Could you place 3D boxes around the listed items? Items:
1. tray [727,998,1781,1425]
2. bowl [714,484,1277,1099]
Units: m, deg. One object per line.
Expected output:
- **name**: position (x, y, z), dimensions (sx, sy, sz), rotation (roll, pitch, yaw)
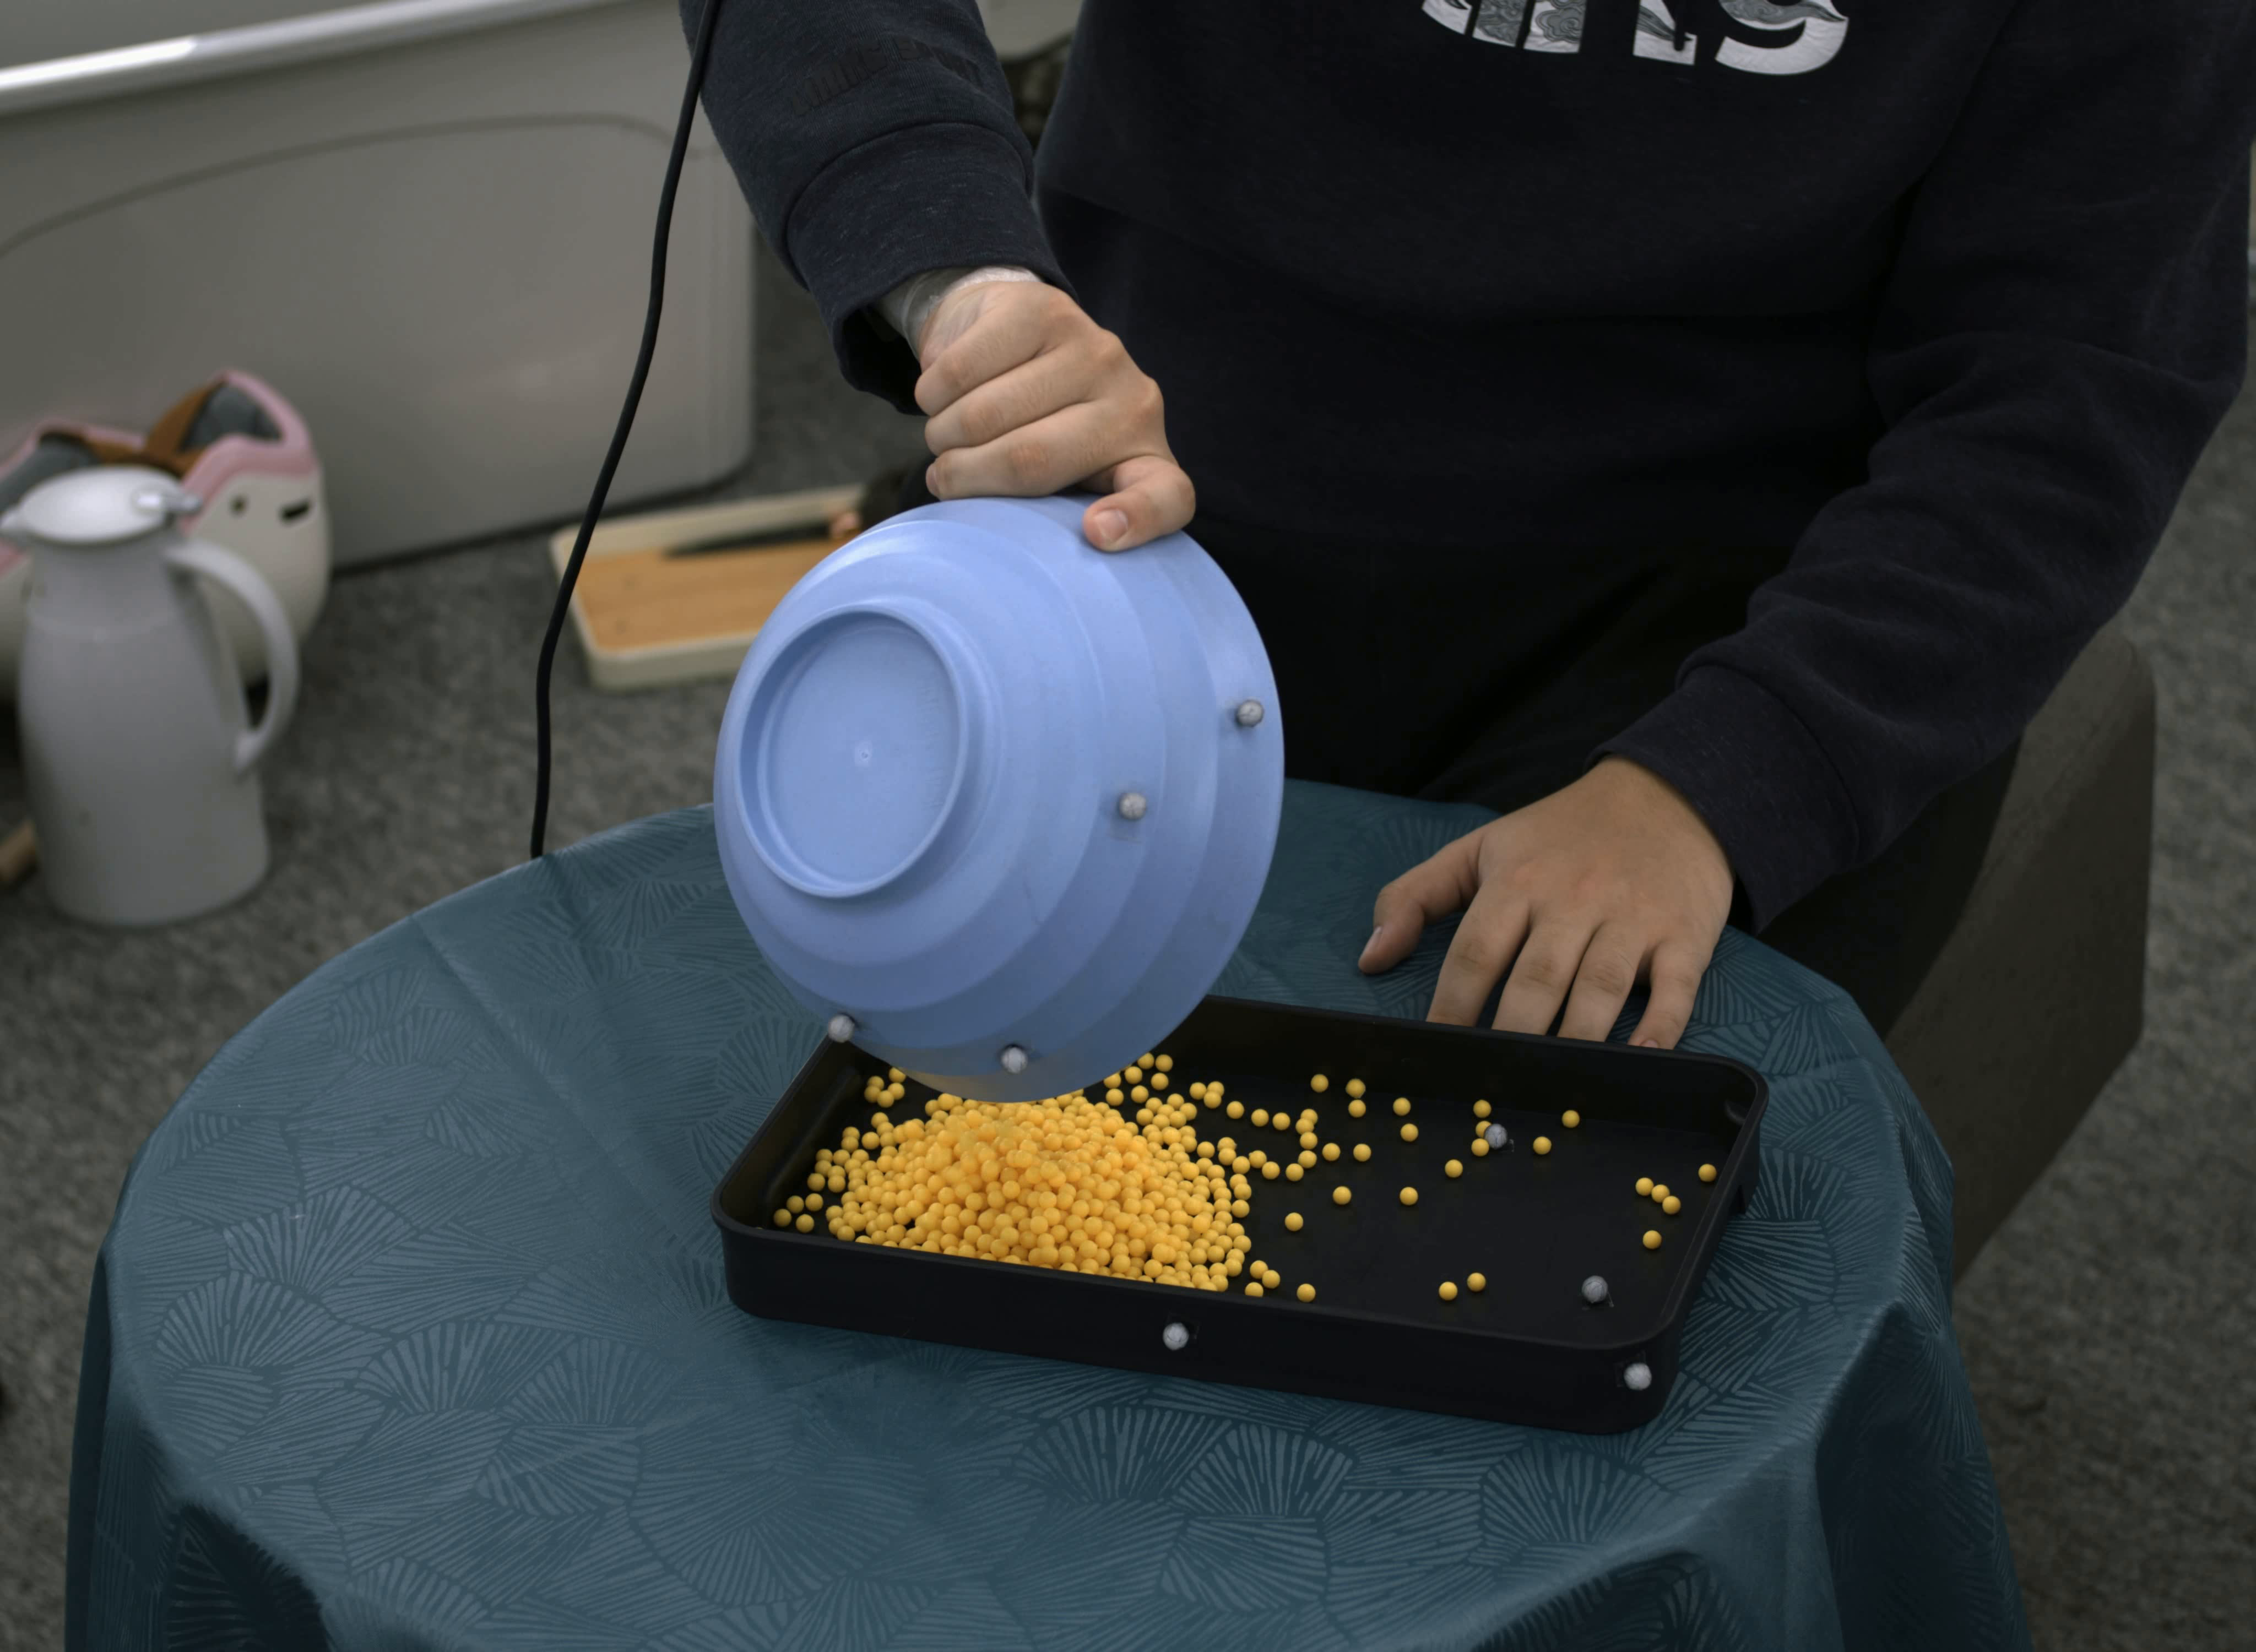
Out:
- **tray**: position (0.043, 0.119, 1.831), dimensions (0.316, 0.036, 0.187), rotation (4, 28, 16)
- **bowl**: position (-0.059, -0.018, 1.749), dimensions (0.196, 0.197, 0.095), rotation (21, 3, 38)
